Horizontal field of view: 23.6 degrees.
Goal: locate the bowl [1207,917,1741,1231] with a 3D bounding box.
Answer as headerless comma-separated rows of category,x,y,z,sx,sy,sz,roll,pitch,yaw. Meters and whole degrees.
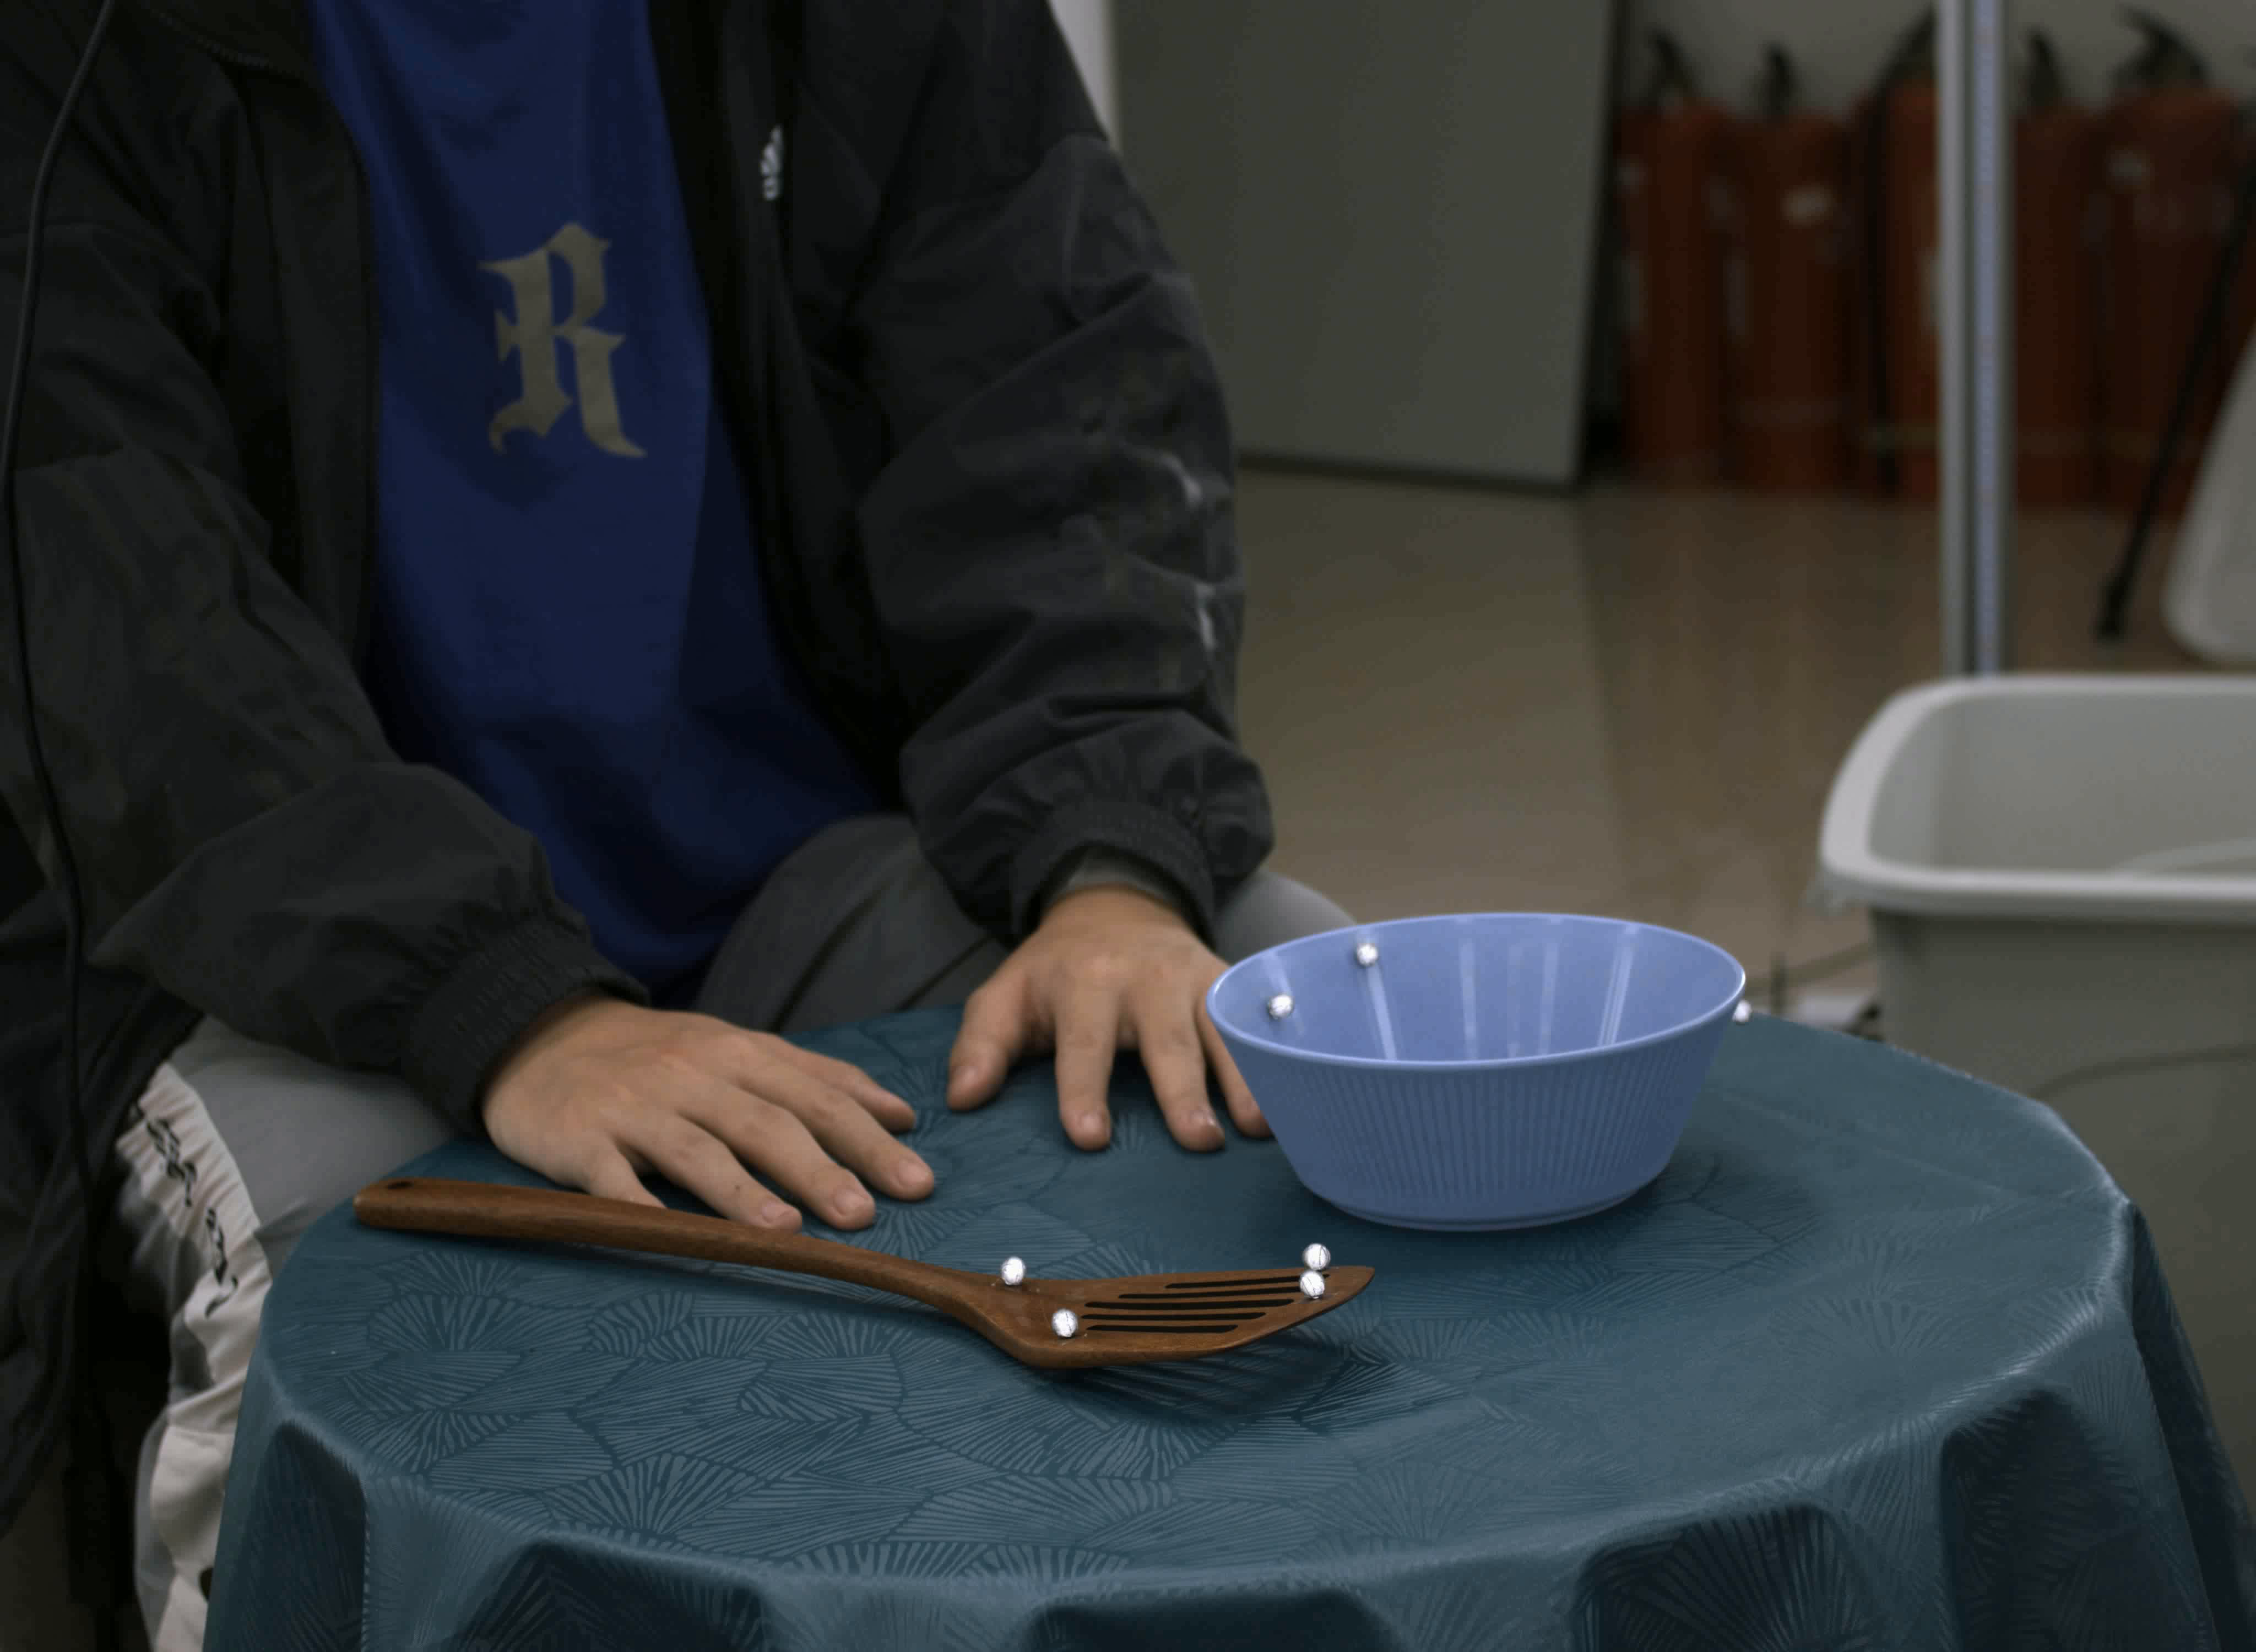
bowl,0.114,0.082,1.747,0.174,0.071,0.176,-4,12,0

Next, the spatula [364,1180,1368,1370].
spatula,-0.096,0.138,1.687,0.389,0.024,0.084,5,15,37
